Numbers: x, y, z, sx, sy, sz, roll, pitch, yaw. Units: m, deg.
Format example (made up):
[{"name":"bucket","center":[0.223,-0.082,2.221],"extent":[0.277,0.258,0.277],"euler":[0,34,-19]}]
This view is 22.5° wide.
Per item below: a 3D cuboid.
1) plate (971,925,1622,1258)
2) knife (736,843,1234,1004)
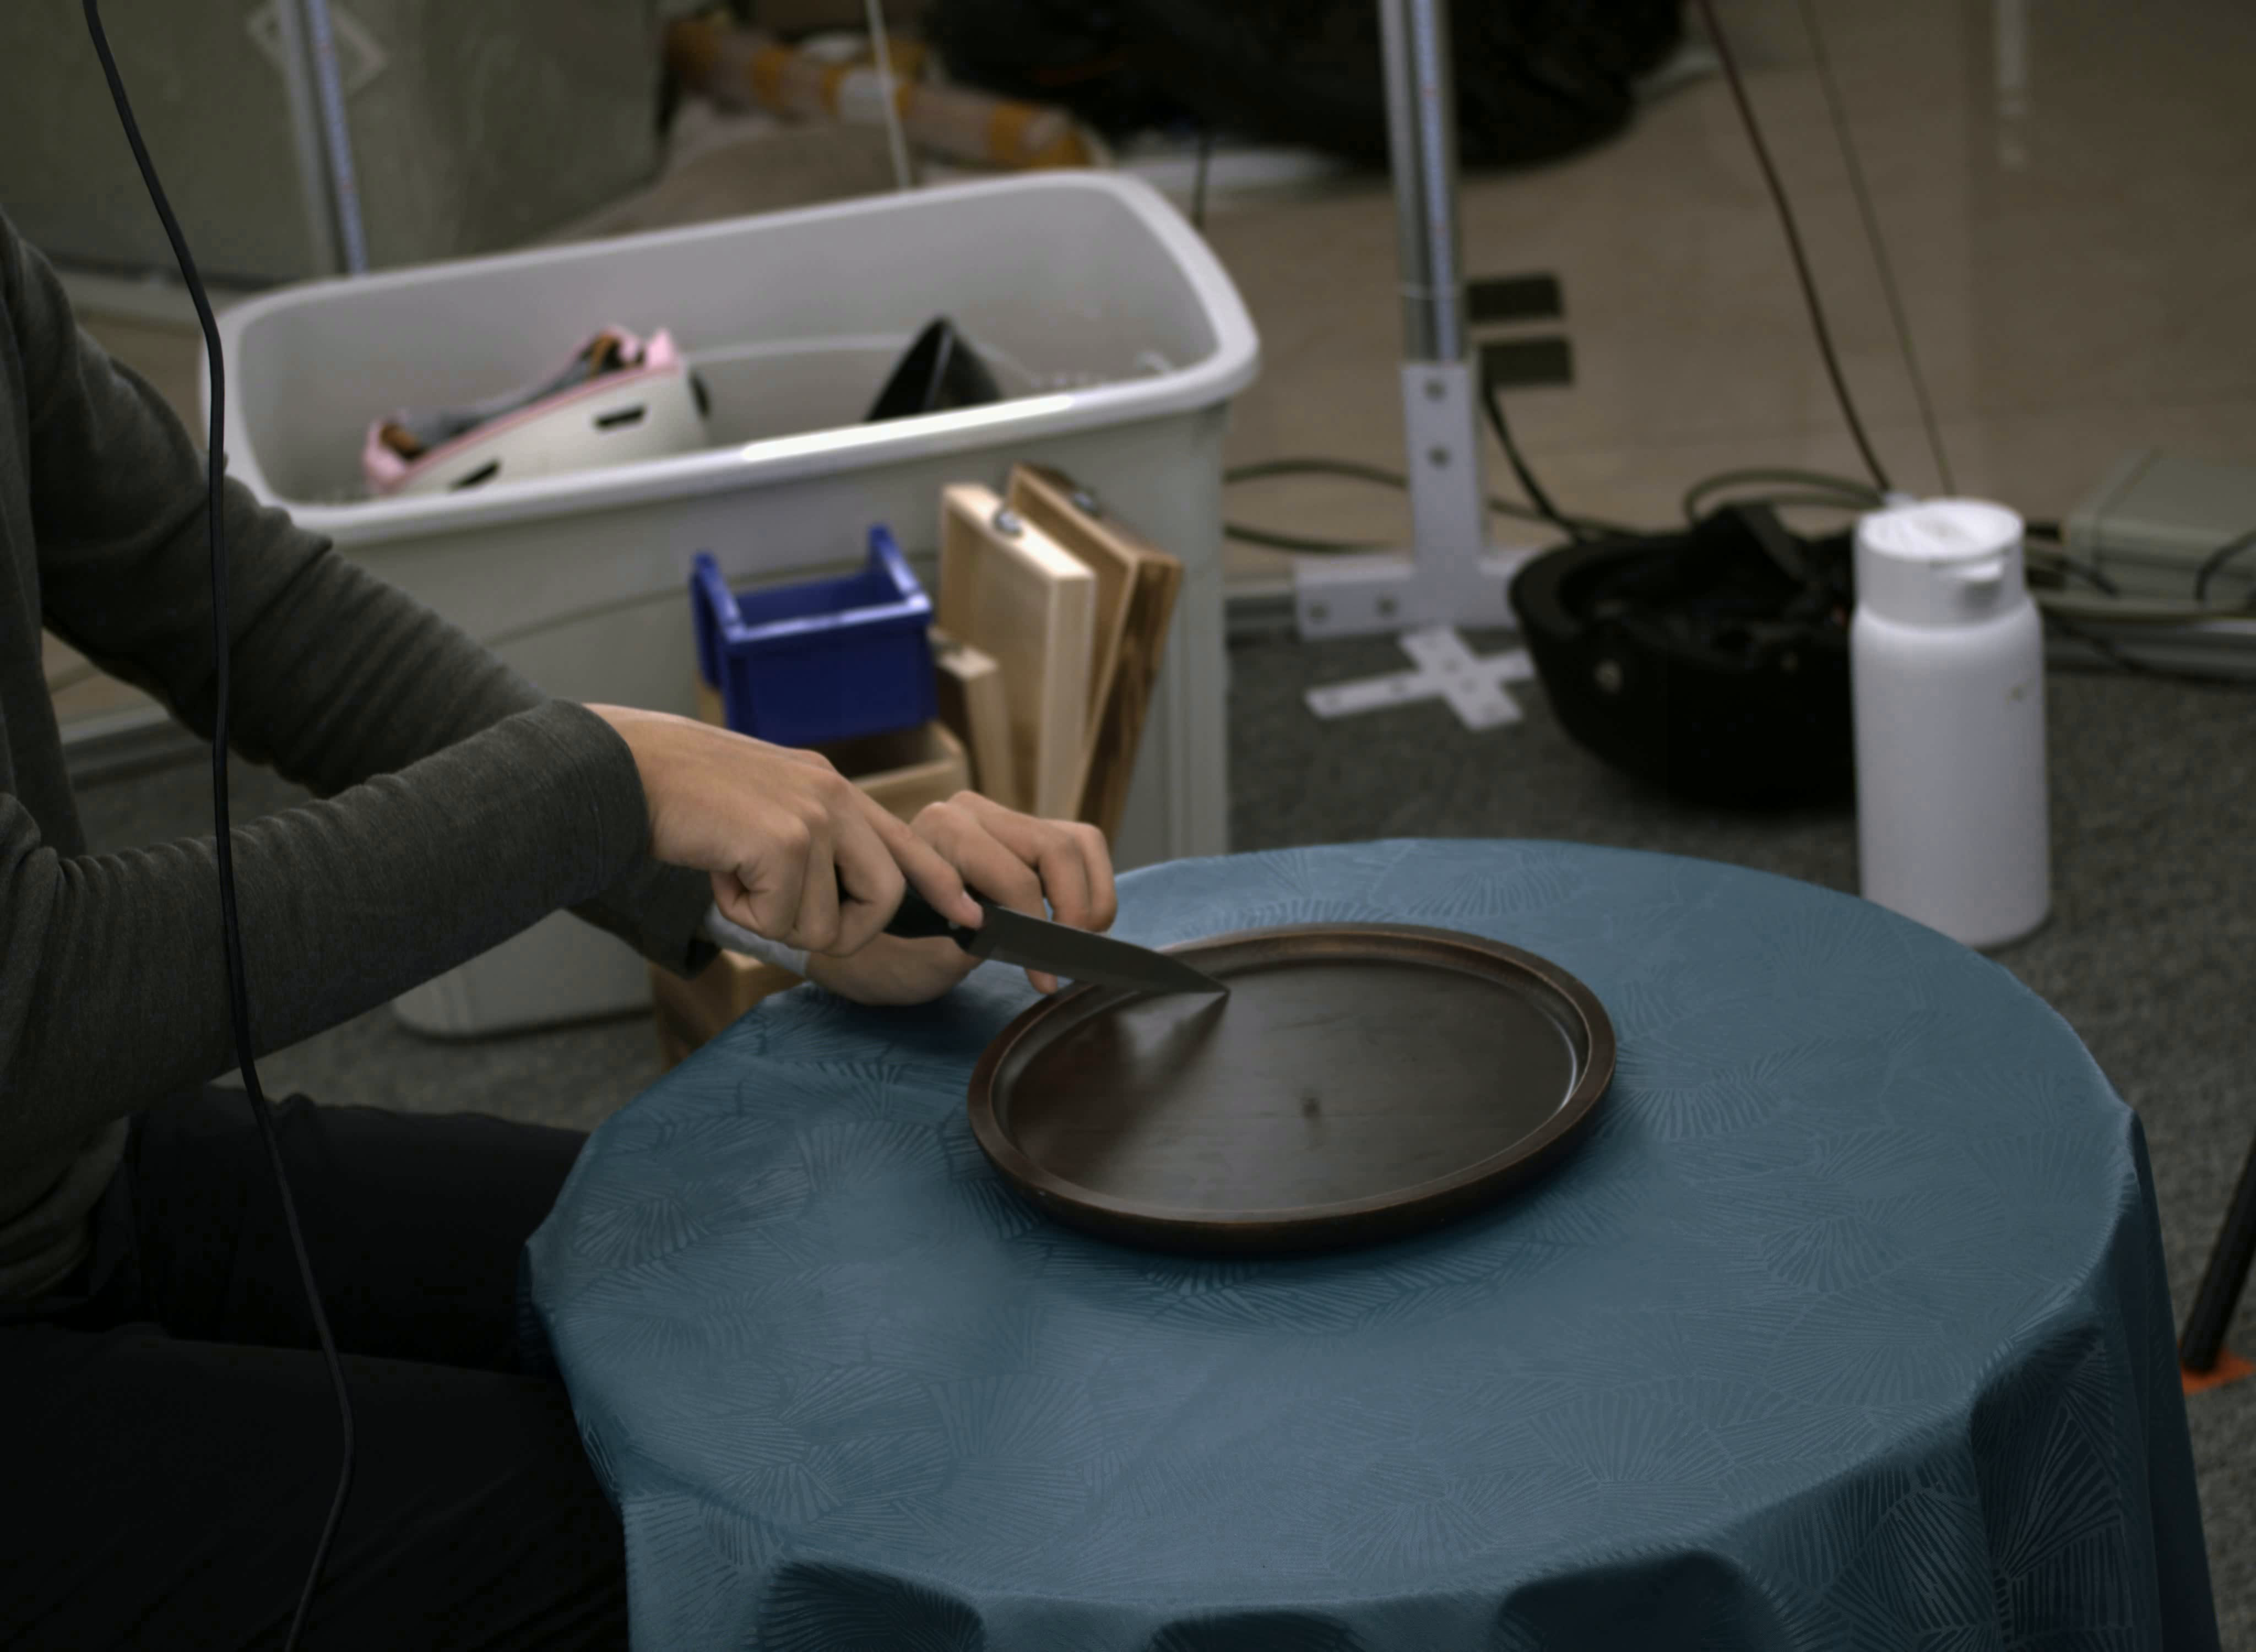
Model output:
[{"name":"plate","center":[0.065,0.101,2.191],"extent":[0.254,0.029,0.251],"euler":[-4,24,2]},{"name":"knife","center":[-0.050,0.040,2.201],"extent":[0.239,0.024,0.016],"euler":[16,9,-35]}]
